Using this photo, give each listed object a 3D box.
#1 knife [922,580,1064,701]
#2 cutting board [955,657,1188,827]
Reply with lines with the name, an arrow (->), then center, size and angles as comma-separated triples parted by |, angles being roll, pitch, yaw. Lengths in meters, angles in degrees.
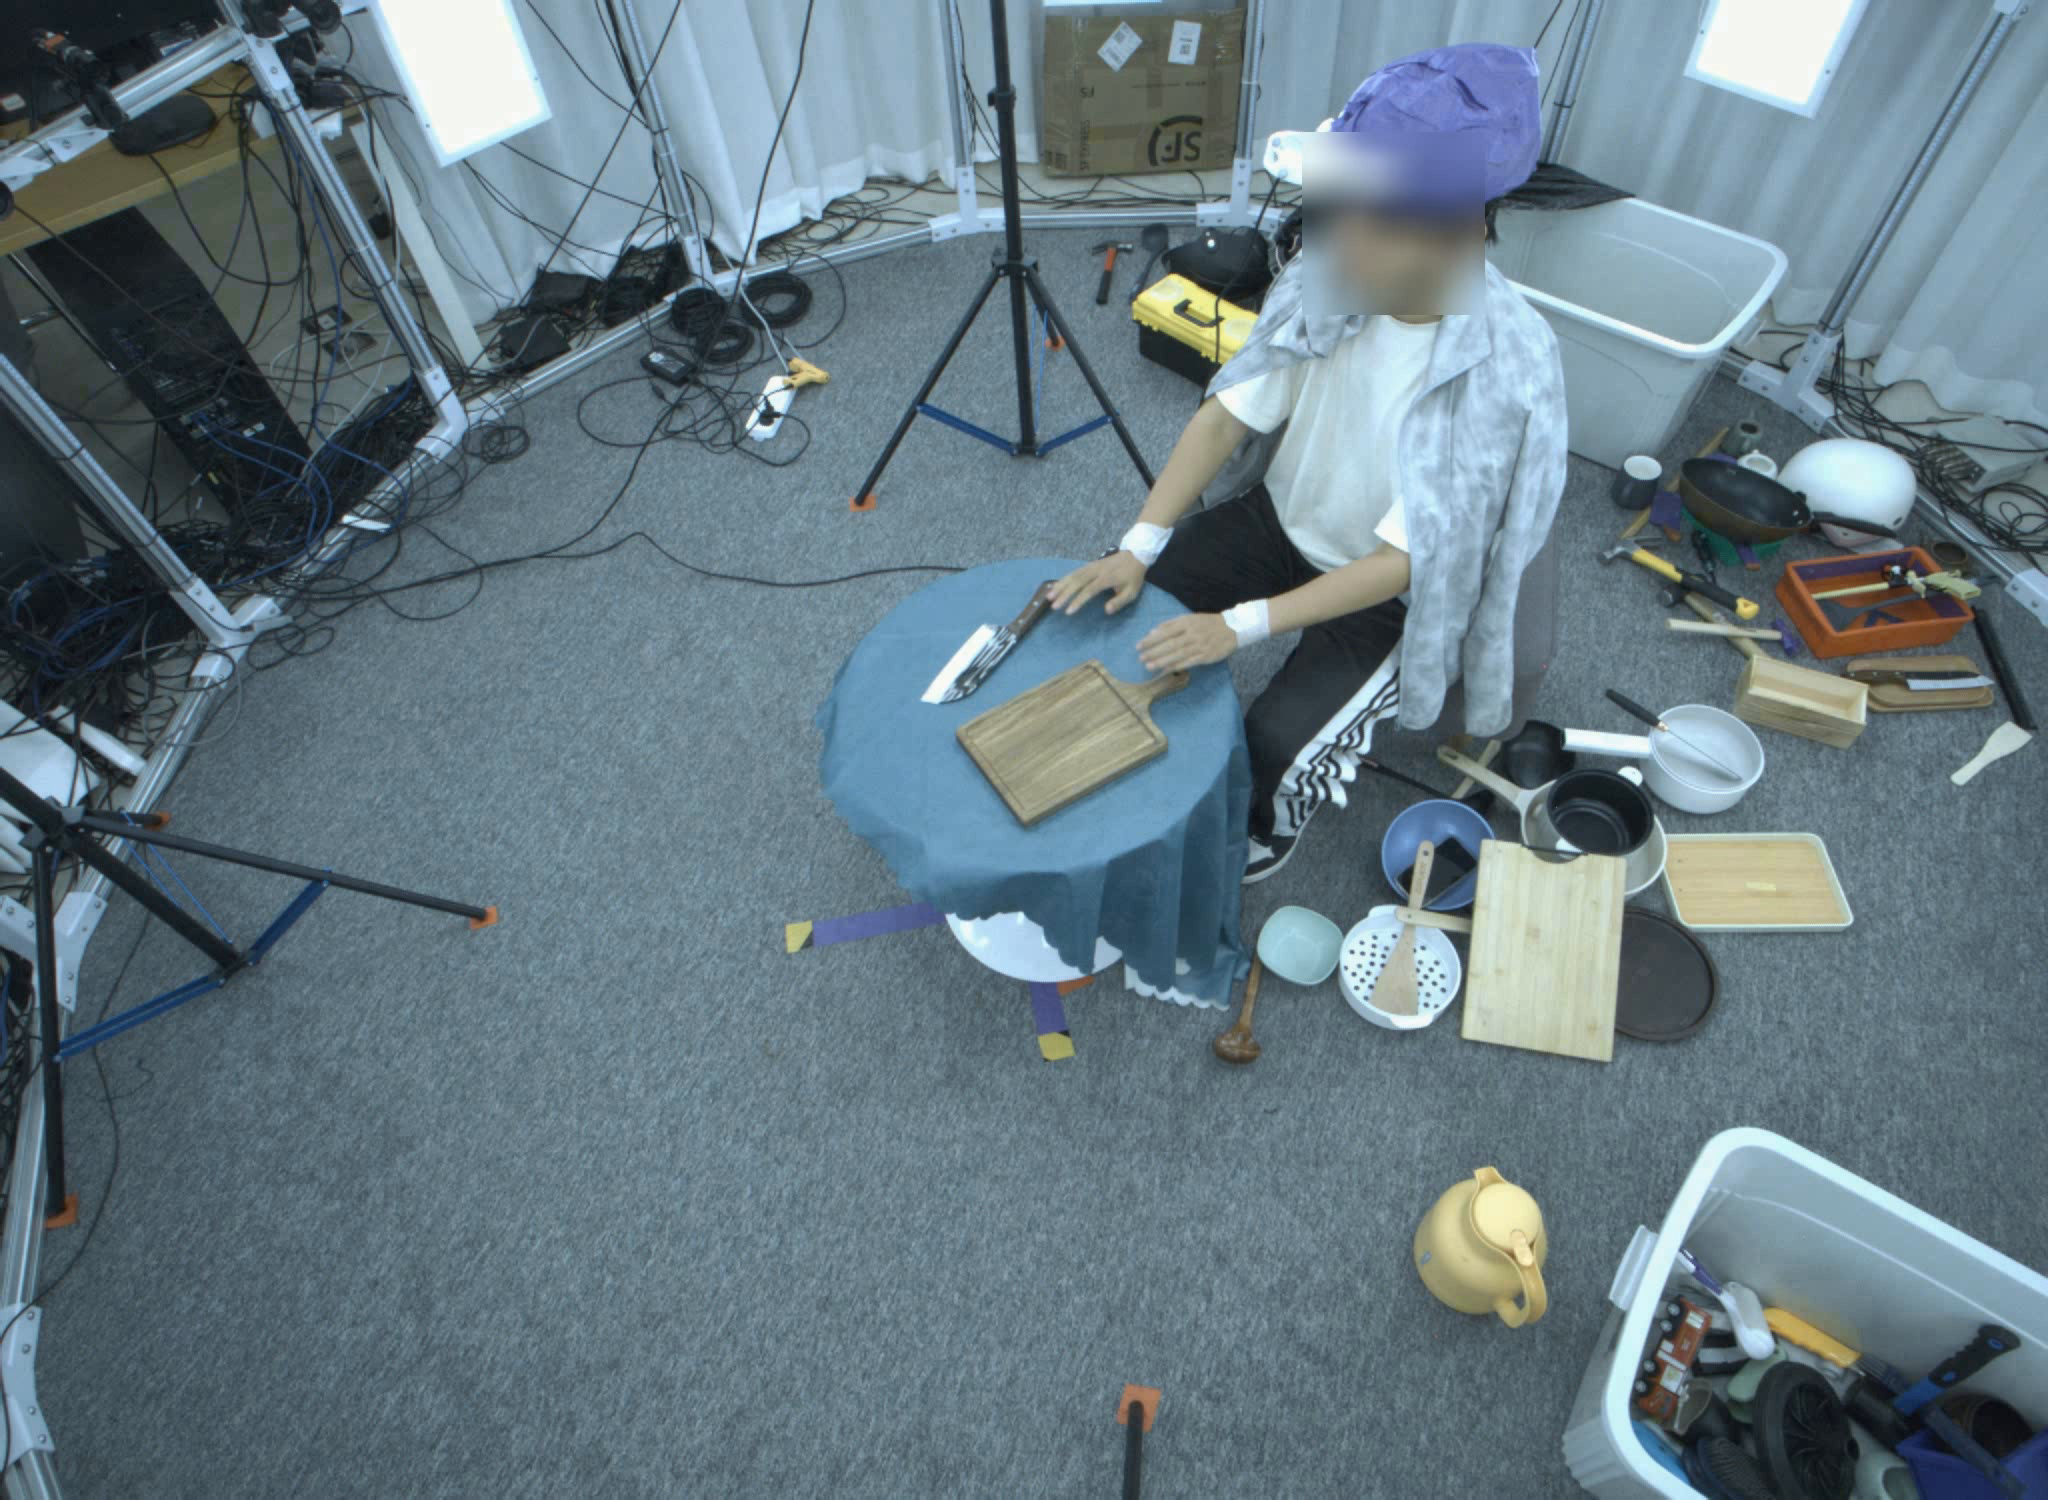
knife -> -0.047, -0.172, 1.901 | 0.067, 0.024, 0.301 | 30, 64, 23
cutting board -> 0.096, -0.040, 1.801 | 0.355, 0.023, 0.197 | -28, 59, -18
